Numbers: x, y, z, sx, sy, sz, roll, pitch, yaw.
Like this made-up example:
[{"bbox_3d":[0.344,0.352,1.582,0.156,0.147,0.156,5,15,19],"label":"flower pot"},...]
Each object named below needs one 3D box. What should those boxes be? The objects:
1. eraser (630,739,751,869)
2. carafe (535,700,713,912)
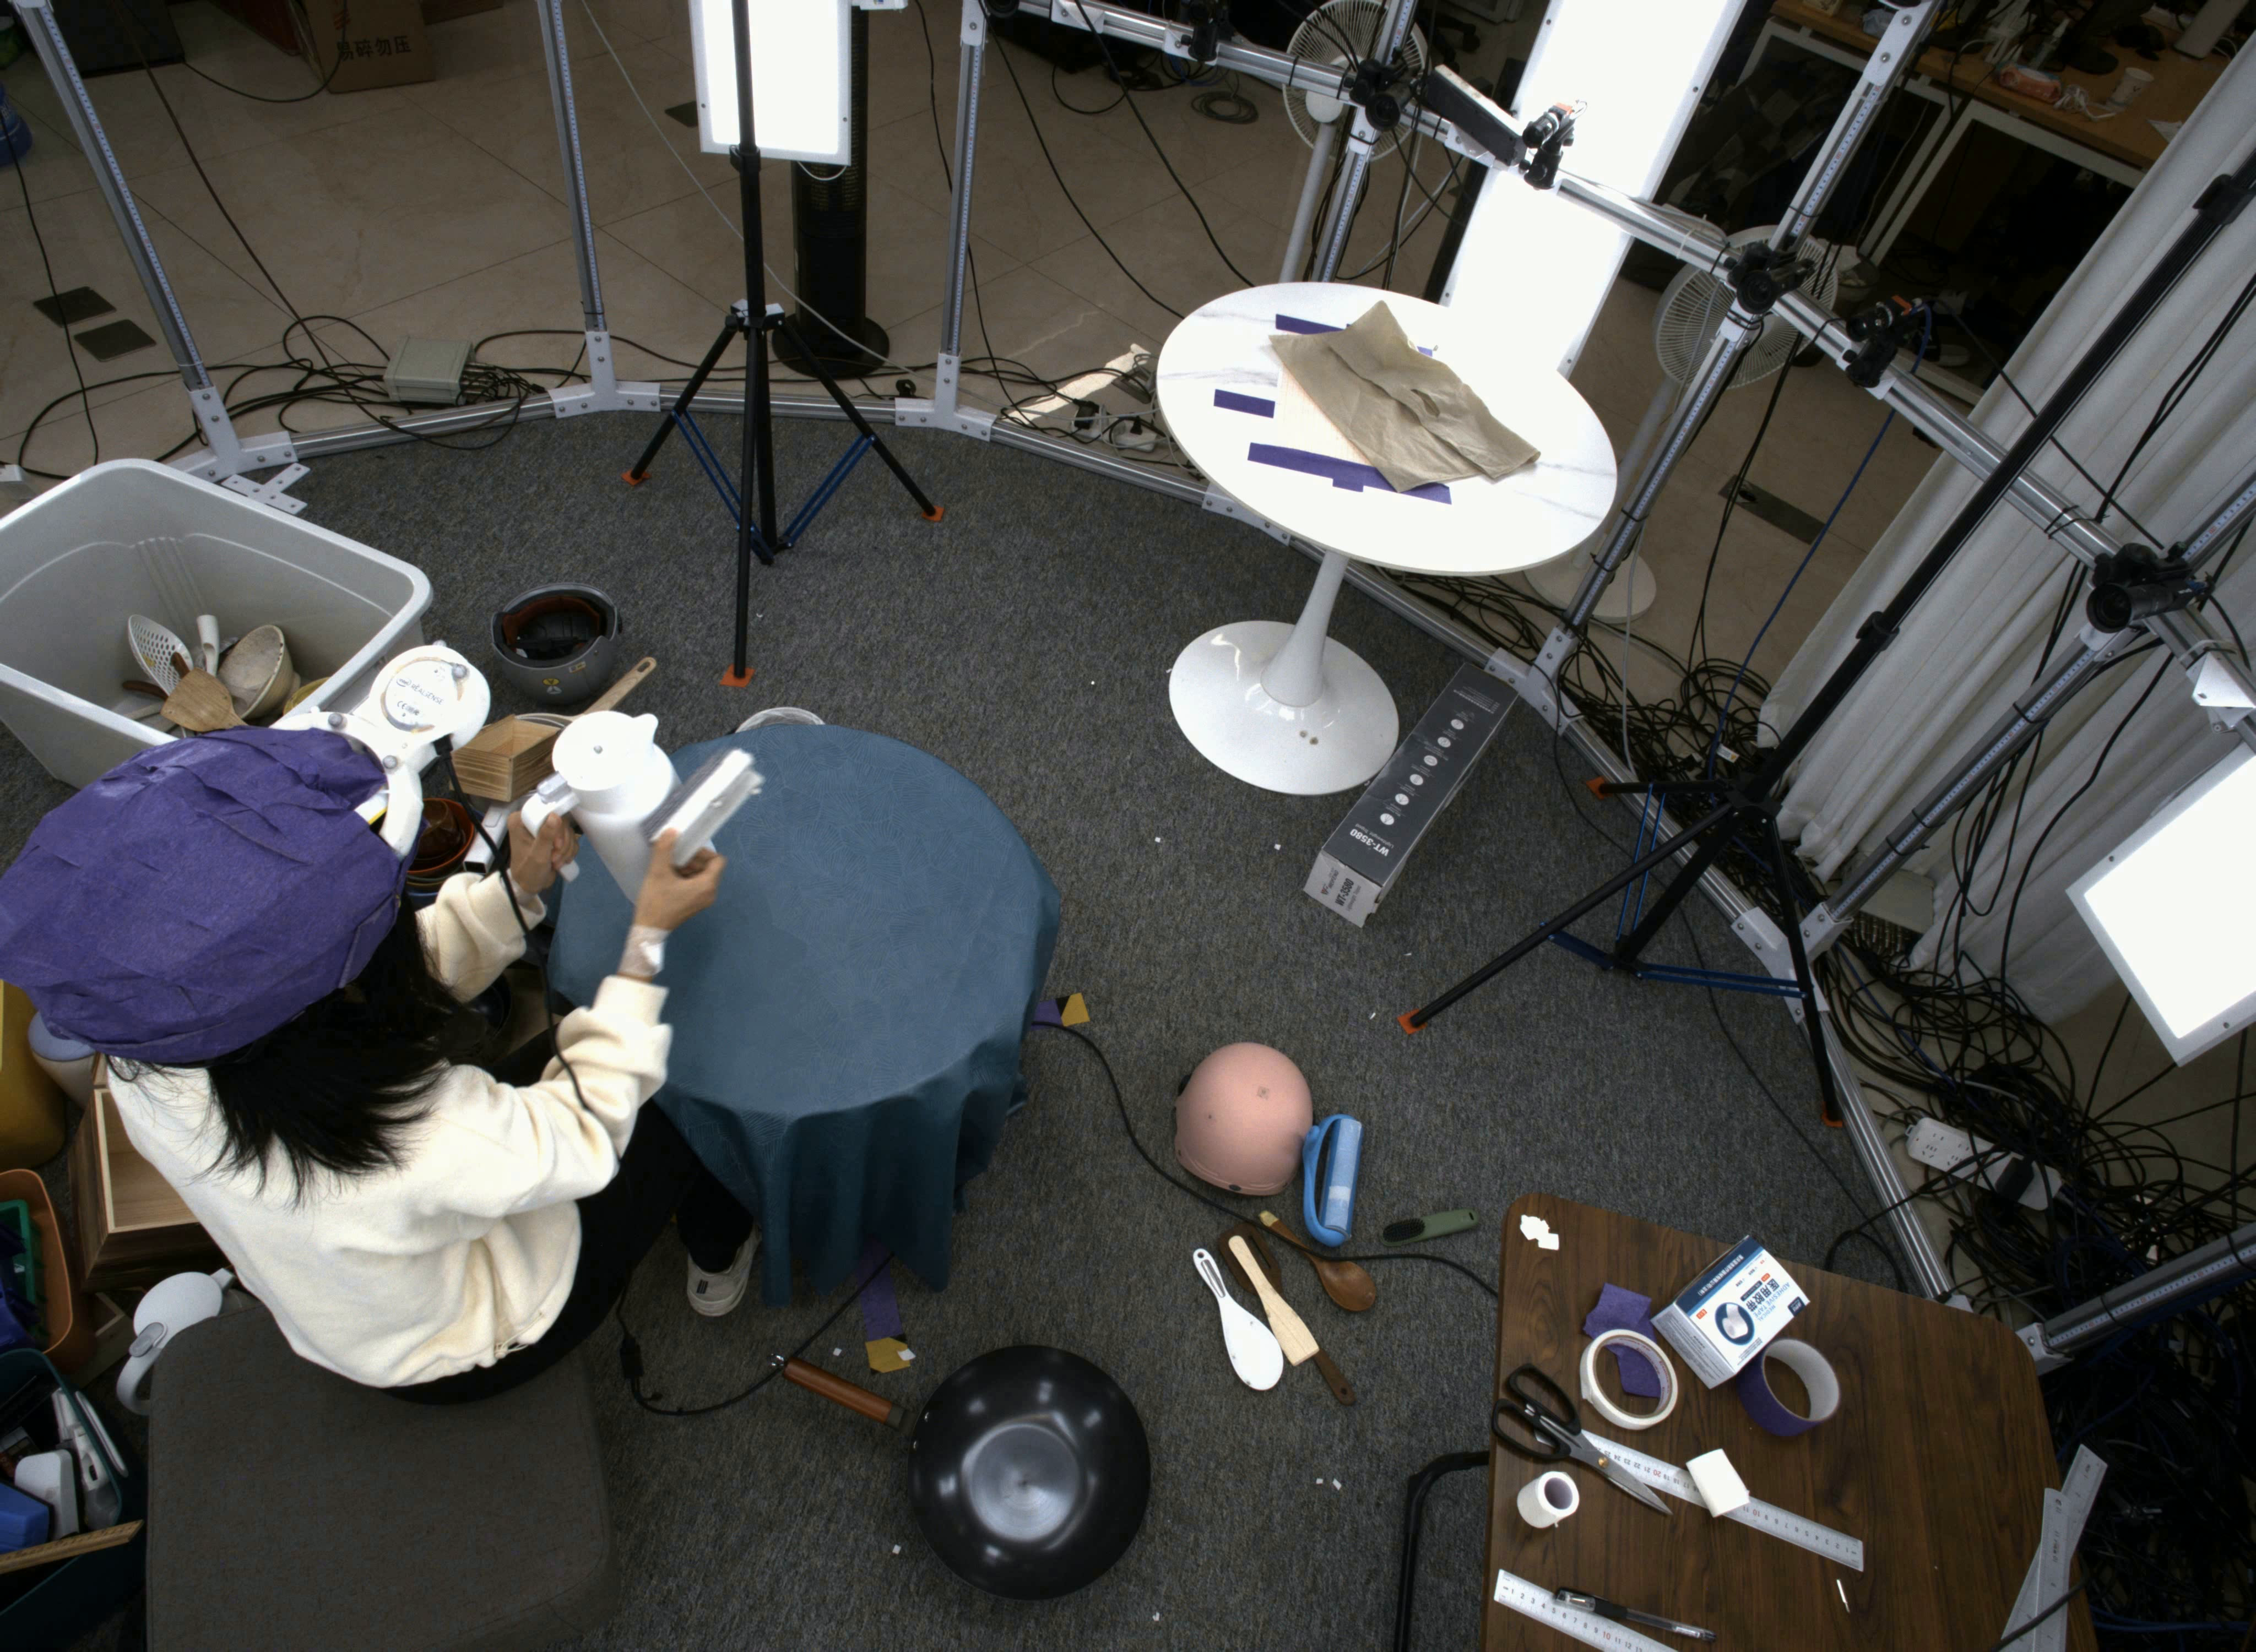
[{"bbox_3d":[-0.464,-0.026,1.364,0.045,0.051,0.134,32,70,13],"label":"eraser"},{"bbox_3d":[-0.559,-0.008,1.407,0.121,0.275,0.173,40,66,18],"label":"carafe"}]
